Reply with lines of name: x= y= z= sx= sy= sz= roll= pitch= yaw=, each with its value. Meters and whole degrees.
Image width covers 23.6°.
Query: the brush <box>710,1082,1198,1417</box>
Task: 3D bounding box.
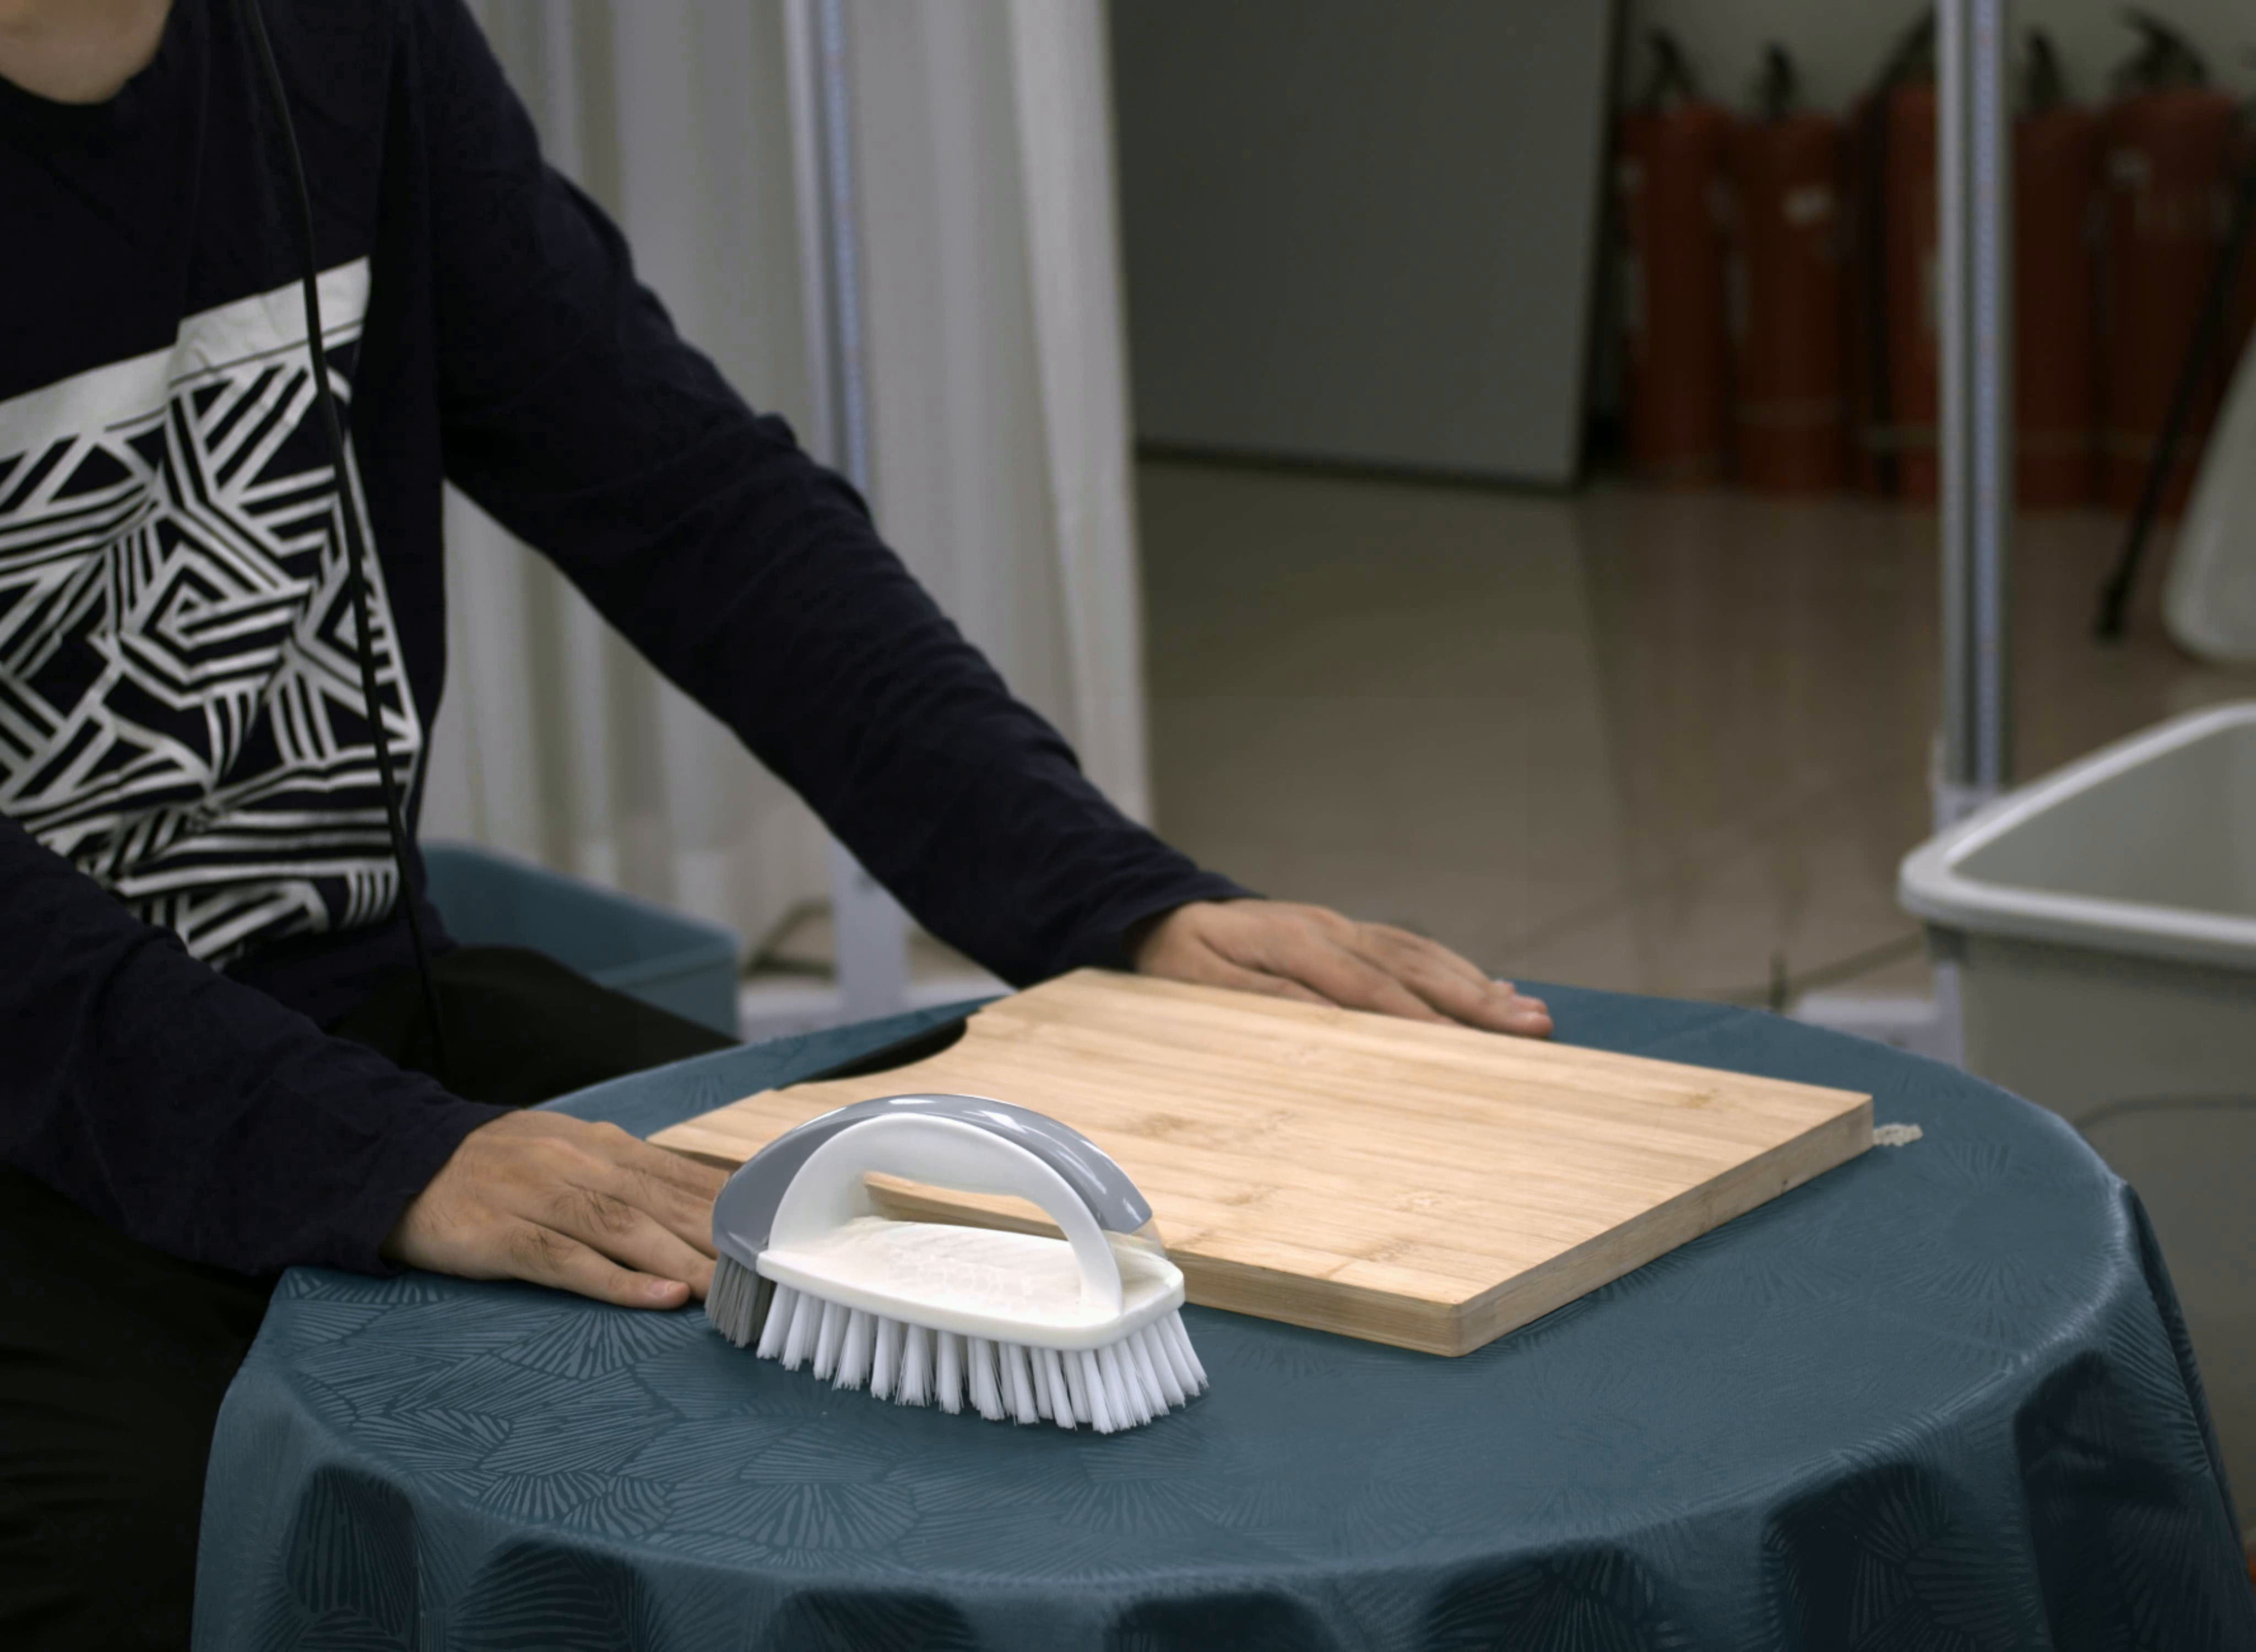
brush: x=-0.062 y=0.122 z=1.601 sx=0.177 sy=0.095 sz=0.060 roll=4 pitch=16 yaw=39

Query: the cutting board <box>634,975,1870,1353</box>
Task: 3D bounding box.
cutting board: x=0.039 y=0.107 z=1.791 sx=0.351 sy=0.024 sz=0.246 roll=7 pitch=17 yaw=39
